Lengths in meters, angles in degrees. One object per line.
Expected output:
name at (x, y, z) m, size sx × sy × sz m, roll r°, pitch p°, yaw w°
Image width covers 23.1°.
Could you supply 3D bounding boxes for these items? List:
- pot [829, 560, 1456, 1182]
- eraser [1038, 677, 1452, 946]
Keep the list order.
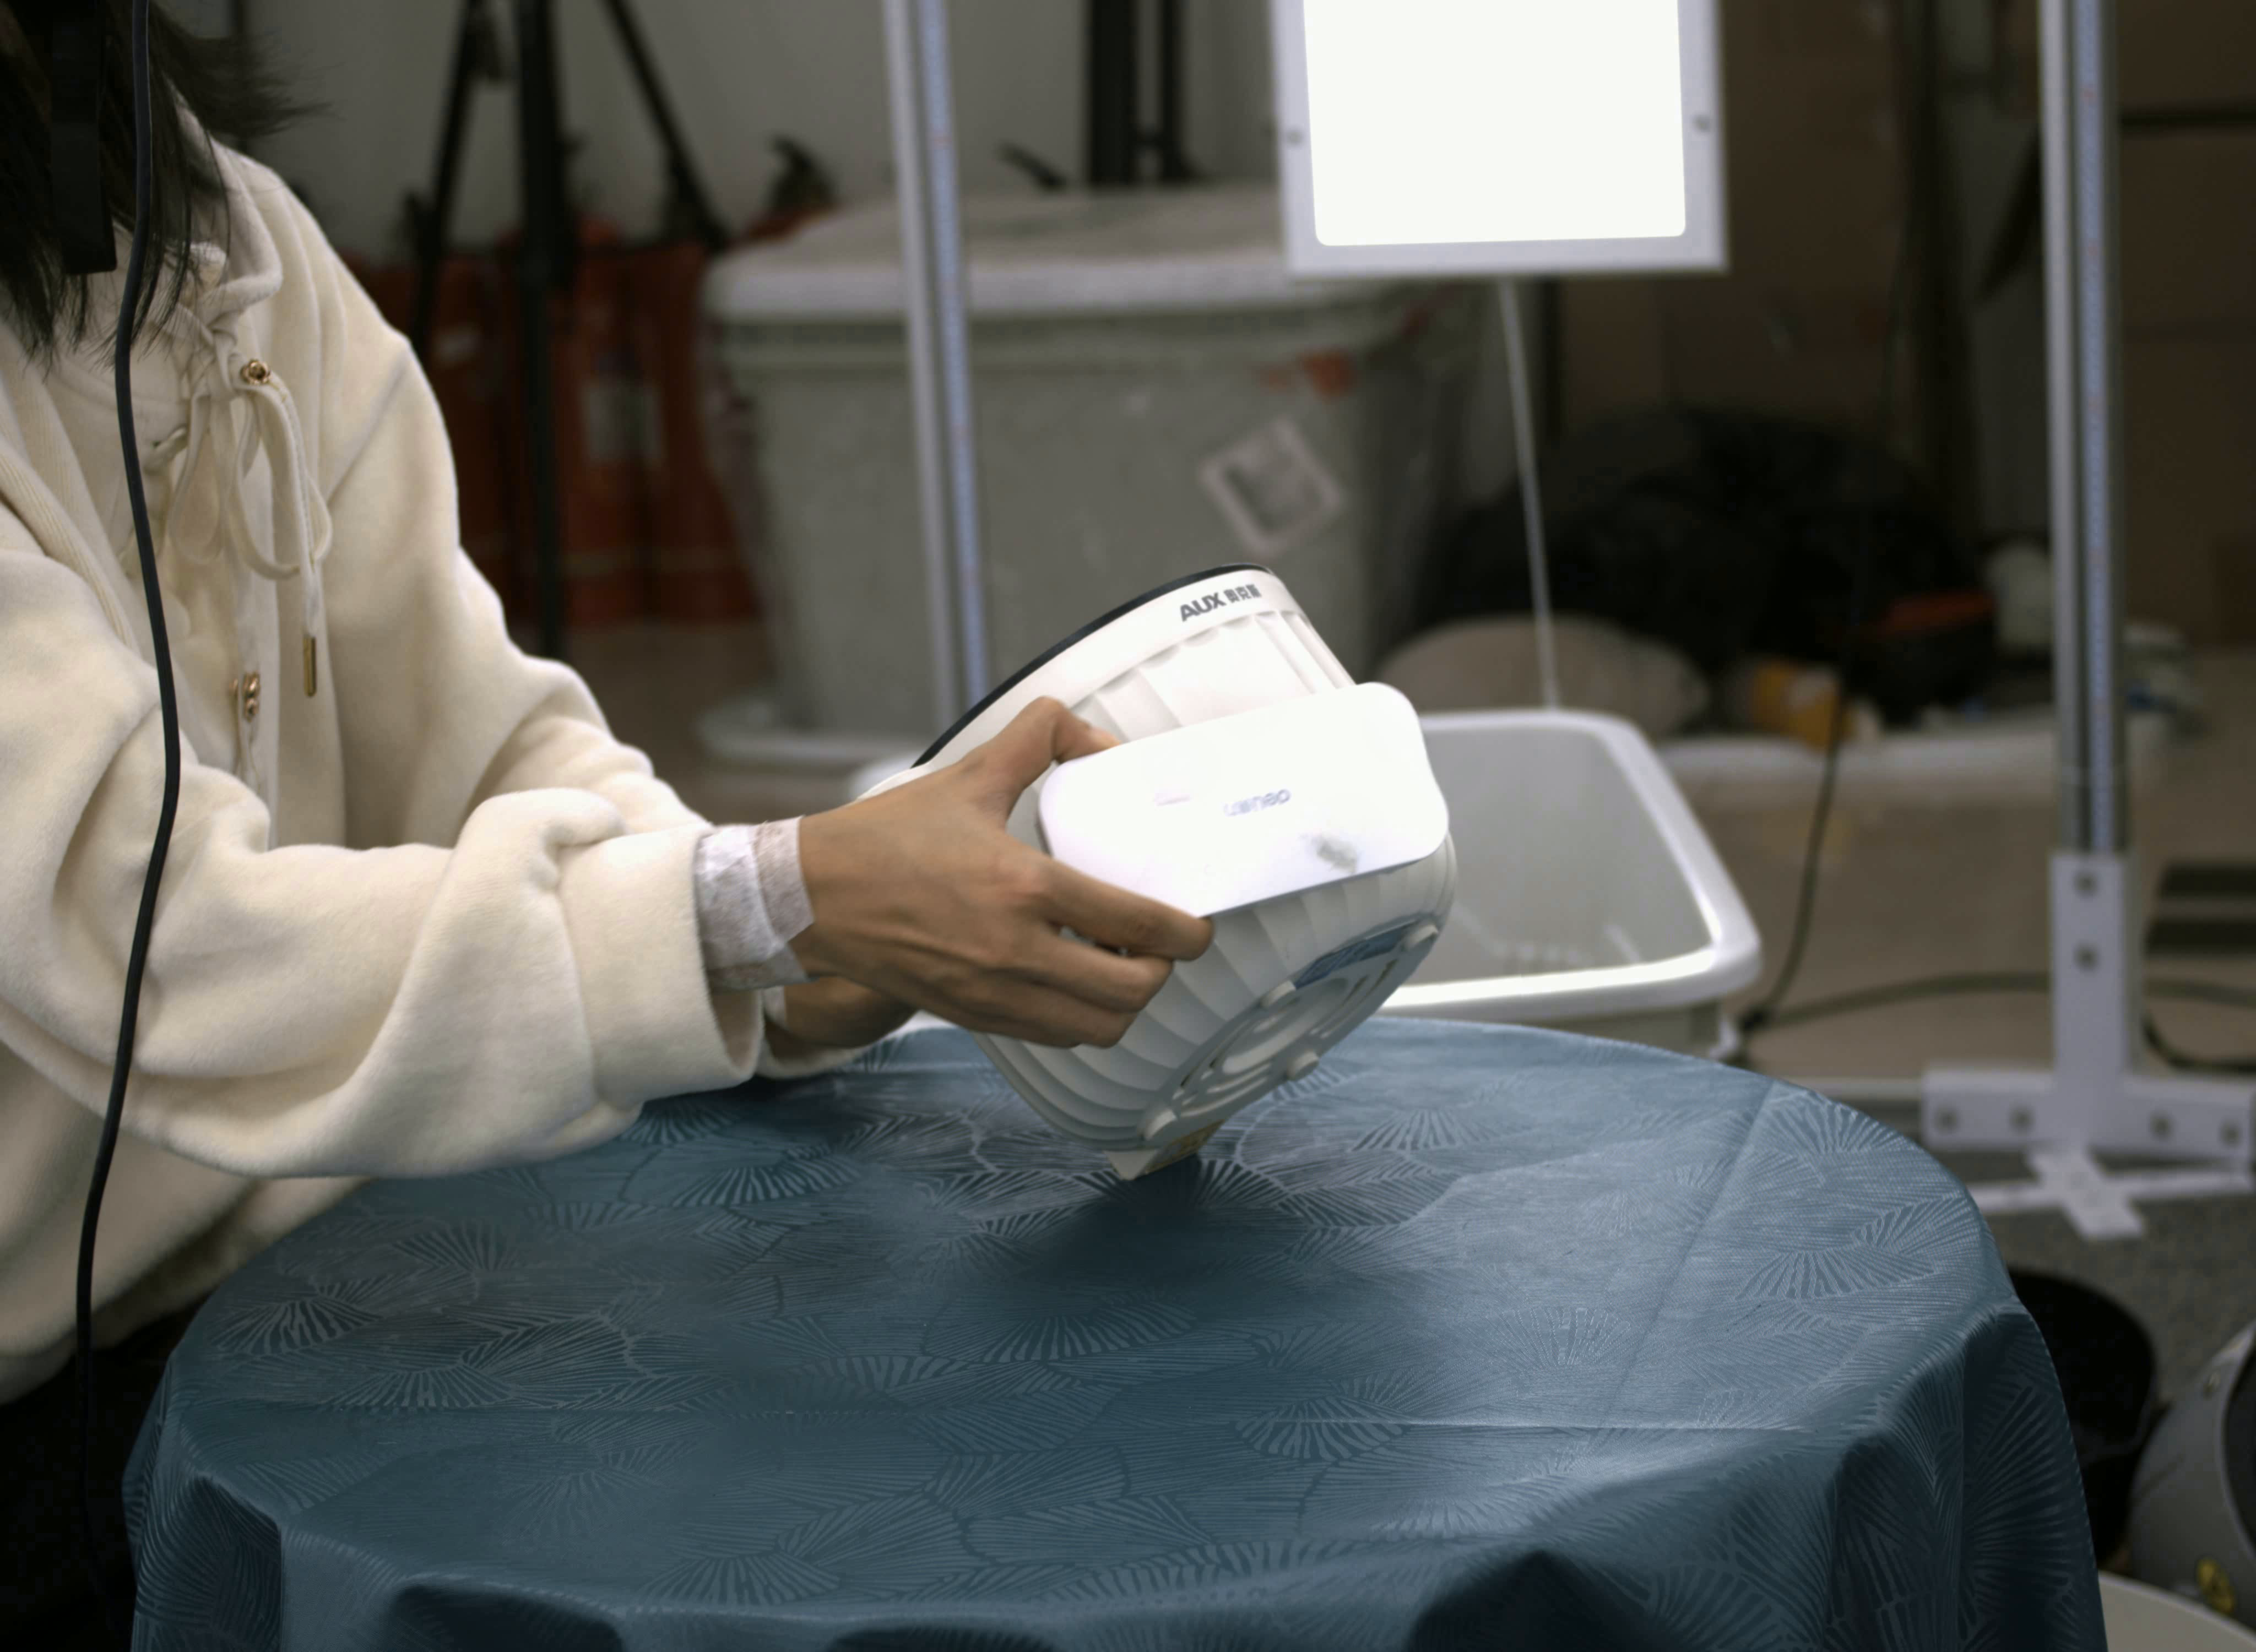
pot at (0.020, 0.015, 1.884) m, size 0.234 × 0.194 × 0.143 m, roll -20°, pitch 64°, yaw -47°
eraser at (0.037, -0.006, 1.762) m, size 0.129 × 0.063 × 0.035 m, roll -15°, pitch -13°, yaw -14°
